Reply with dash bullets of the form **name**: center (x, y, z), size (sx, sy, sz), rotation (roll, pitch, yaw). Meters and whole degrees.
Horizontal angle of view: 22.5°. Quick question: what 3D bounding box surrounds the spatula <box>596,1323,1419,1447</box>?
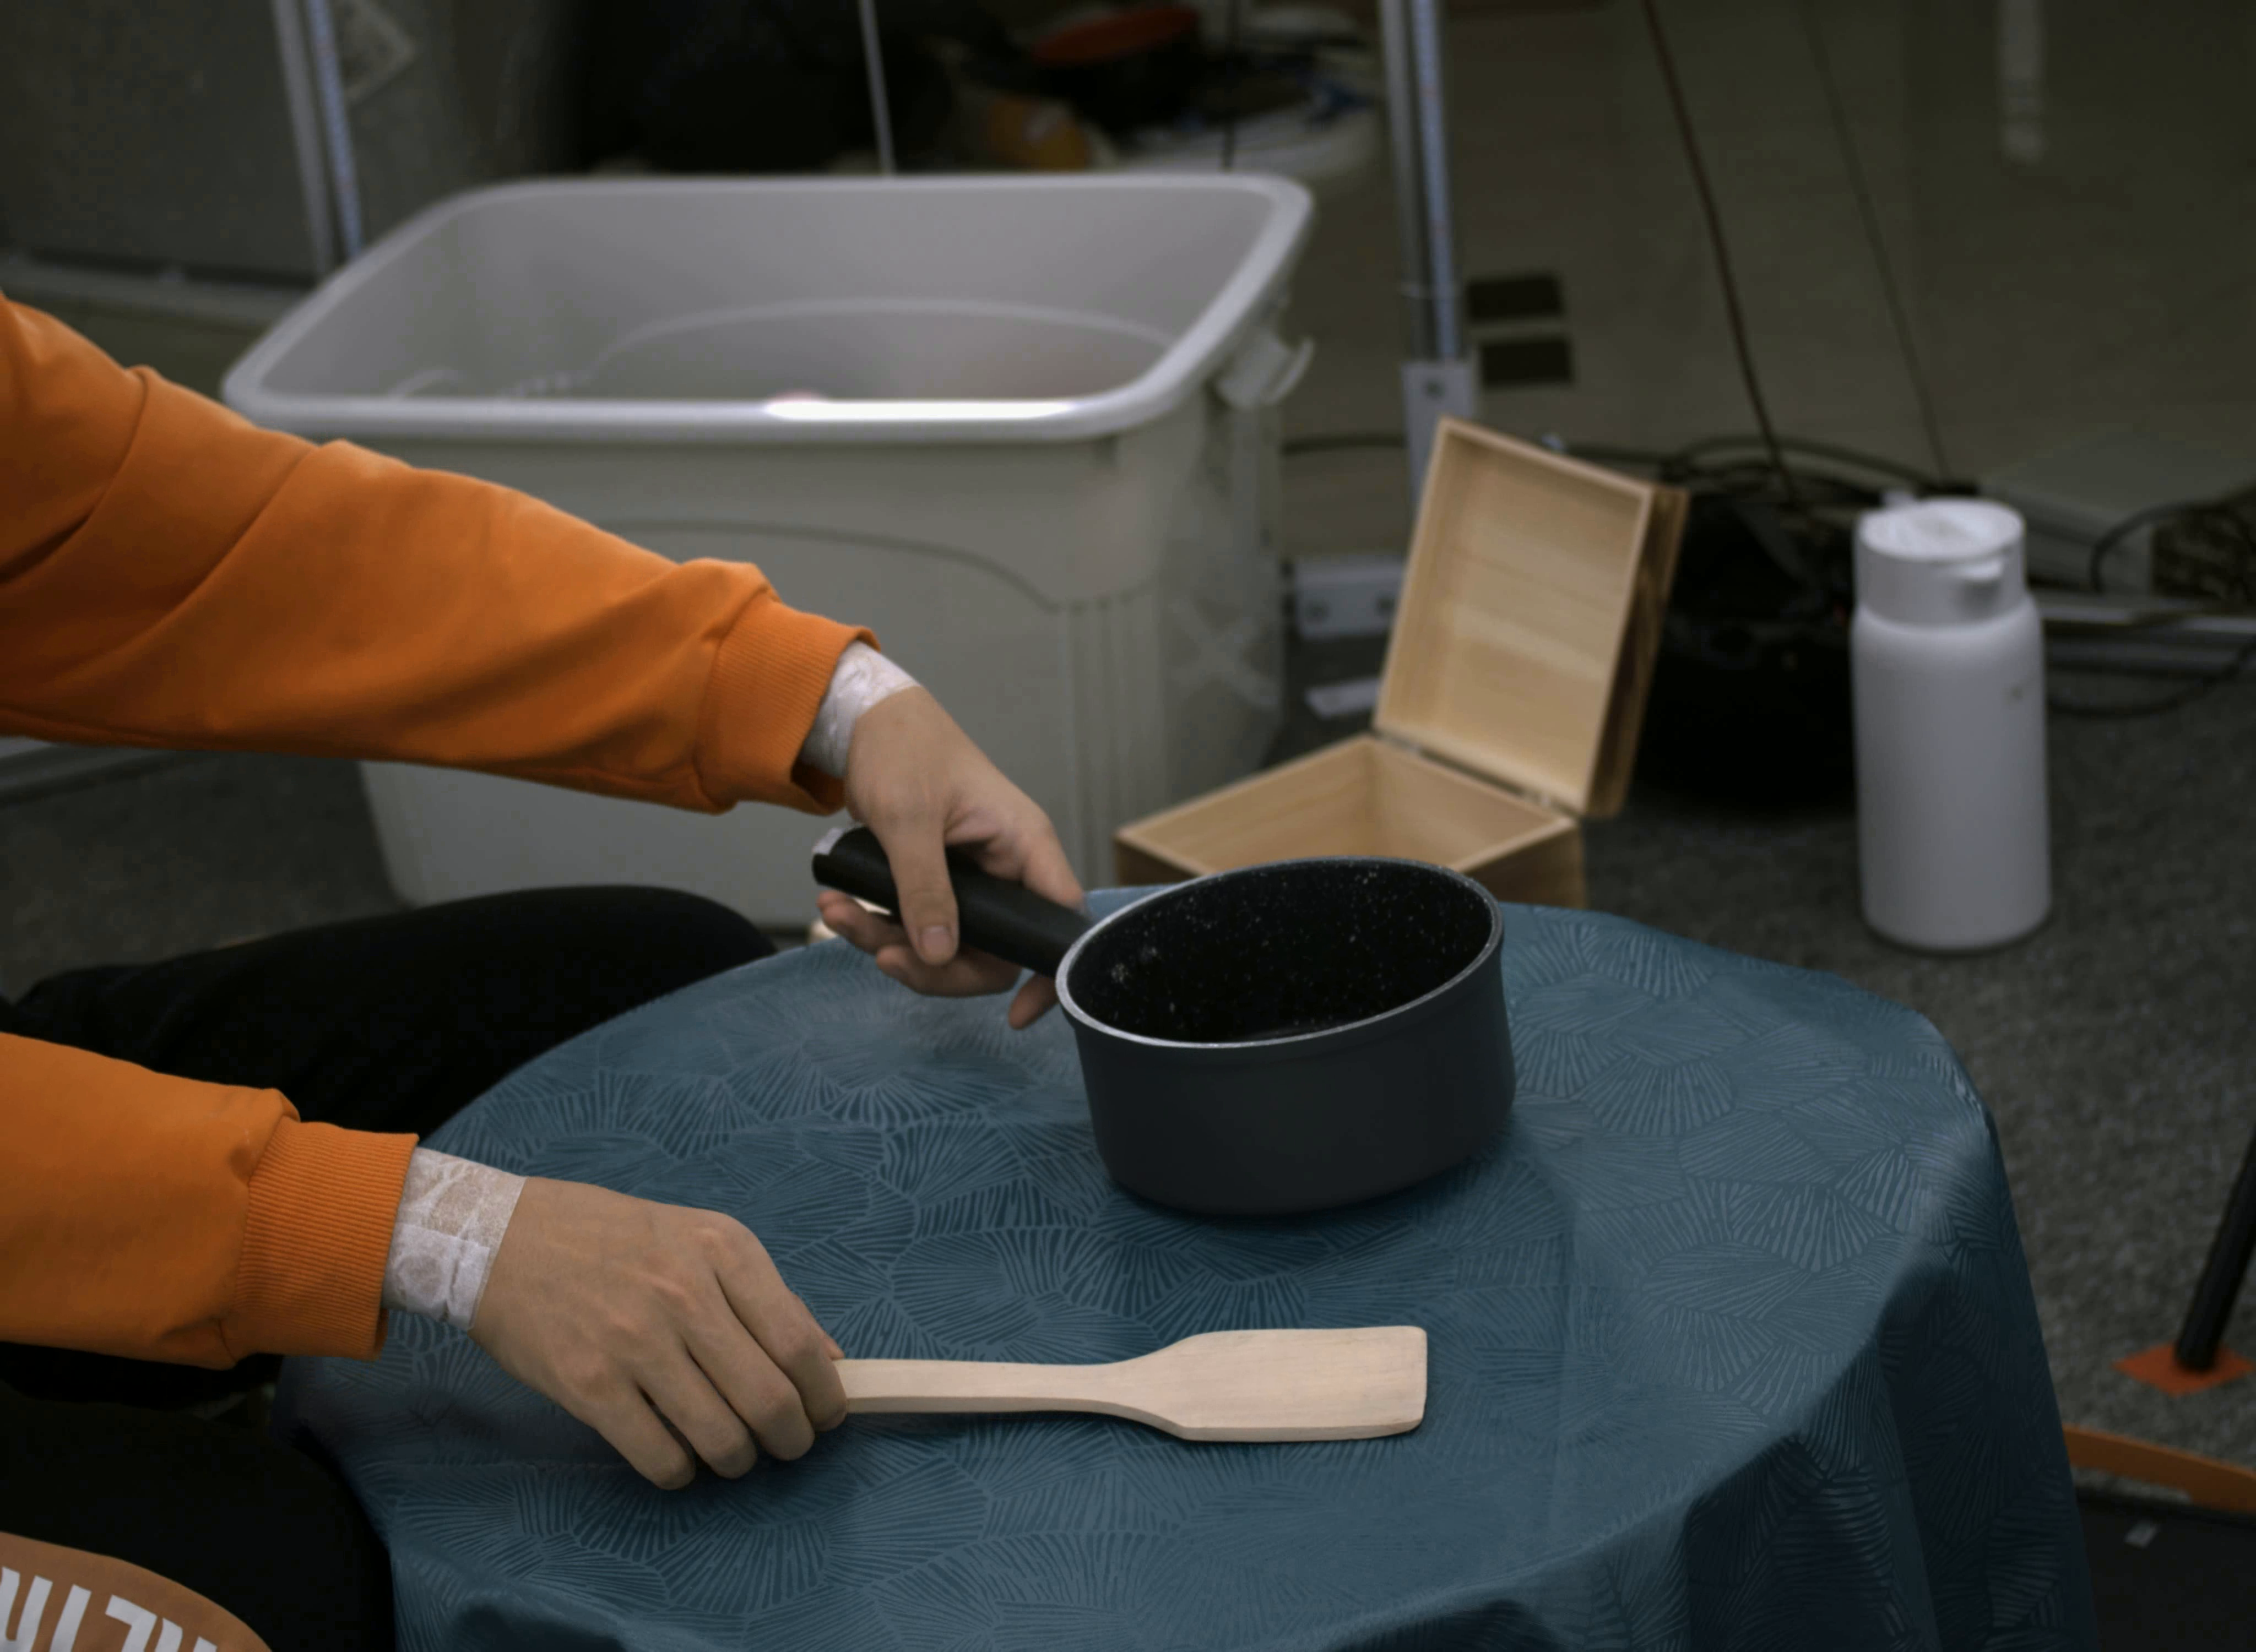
- **spatula**: center (-0.044, 0.198, 2.008), size (0.292, 0.011, 0.071), rotation (-1, 28, 5)

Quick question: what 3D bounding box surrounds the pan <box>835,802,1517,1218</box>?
- **pan**: center (0.007, 0.063, 2.209), size (0.170, 0.088, 0.326), rotation (-28, 30, -37)
